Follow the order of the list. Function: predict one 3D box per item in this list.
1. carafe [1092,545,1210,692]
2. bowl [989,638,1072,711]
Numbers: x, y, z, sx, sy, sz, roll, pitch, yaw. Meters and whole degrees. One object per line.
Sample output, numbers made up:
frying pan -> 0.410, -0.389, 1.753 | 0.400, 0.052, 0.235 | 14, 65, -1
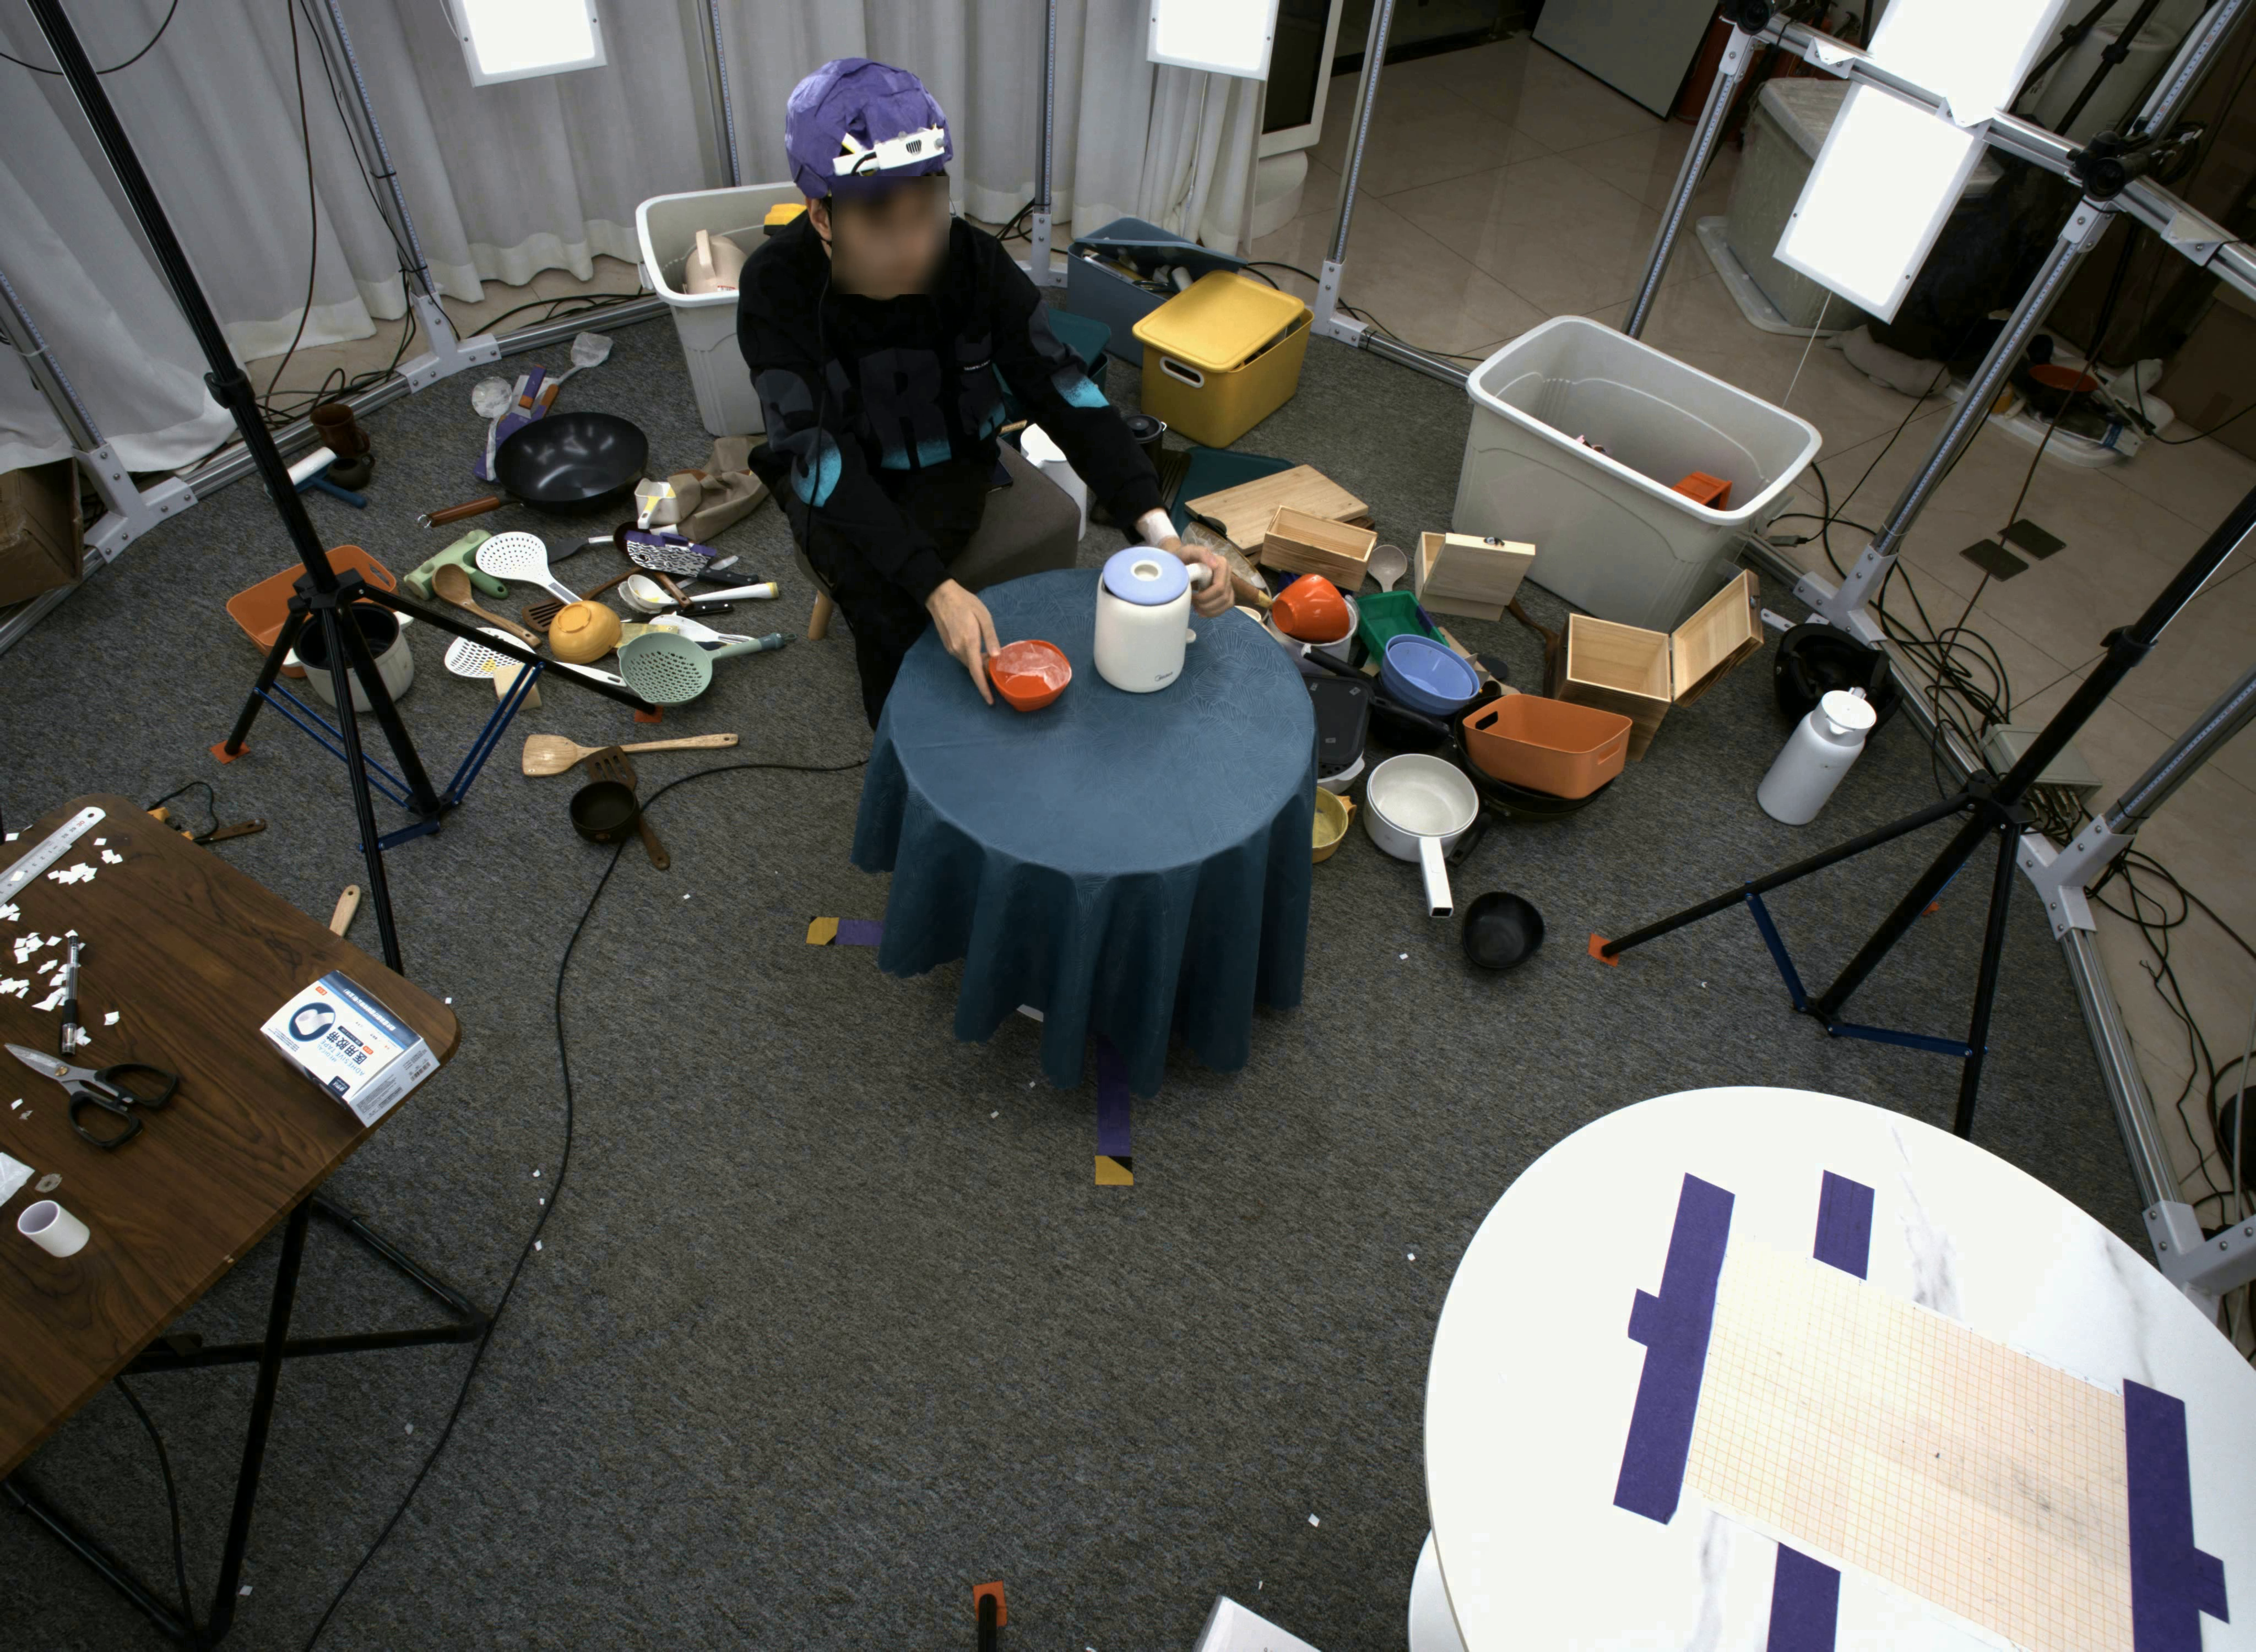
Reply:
carafe -> 0.039, -0.301, 1.822 | 0.192, 0.178, 0.135 | -24, 56, -25
bowl -> -0.137, -0.207, 1.803 | 0.119, 0.050, 0.122 | 1, 52, -2
